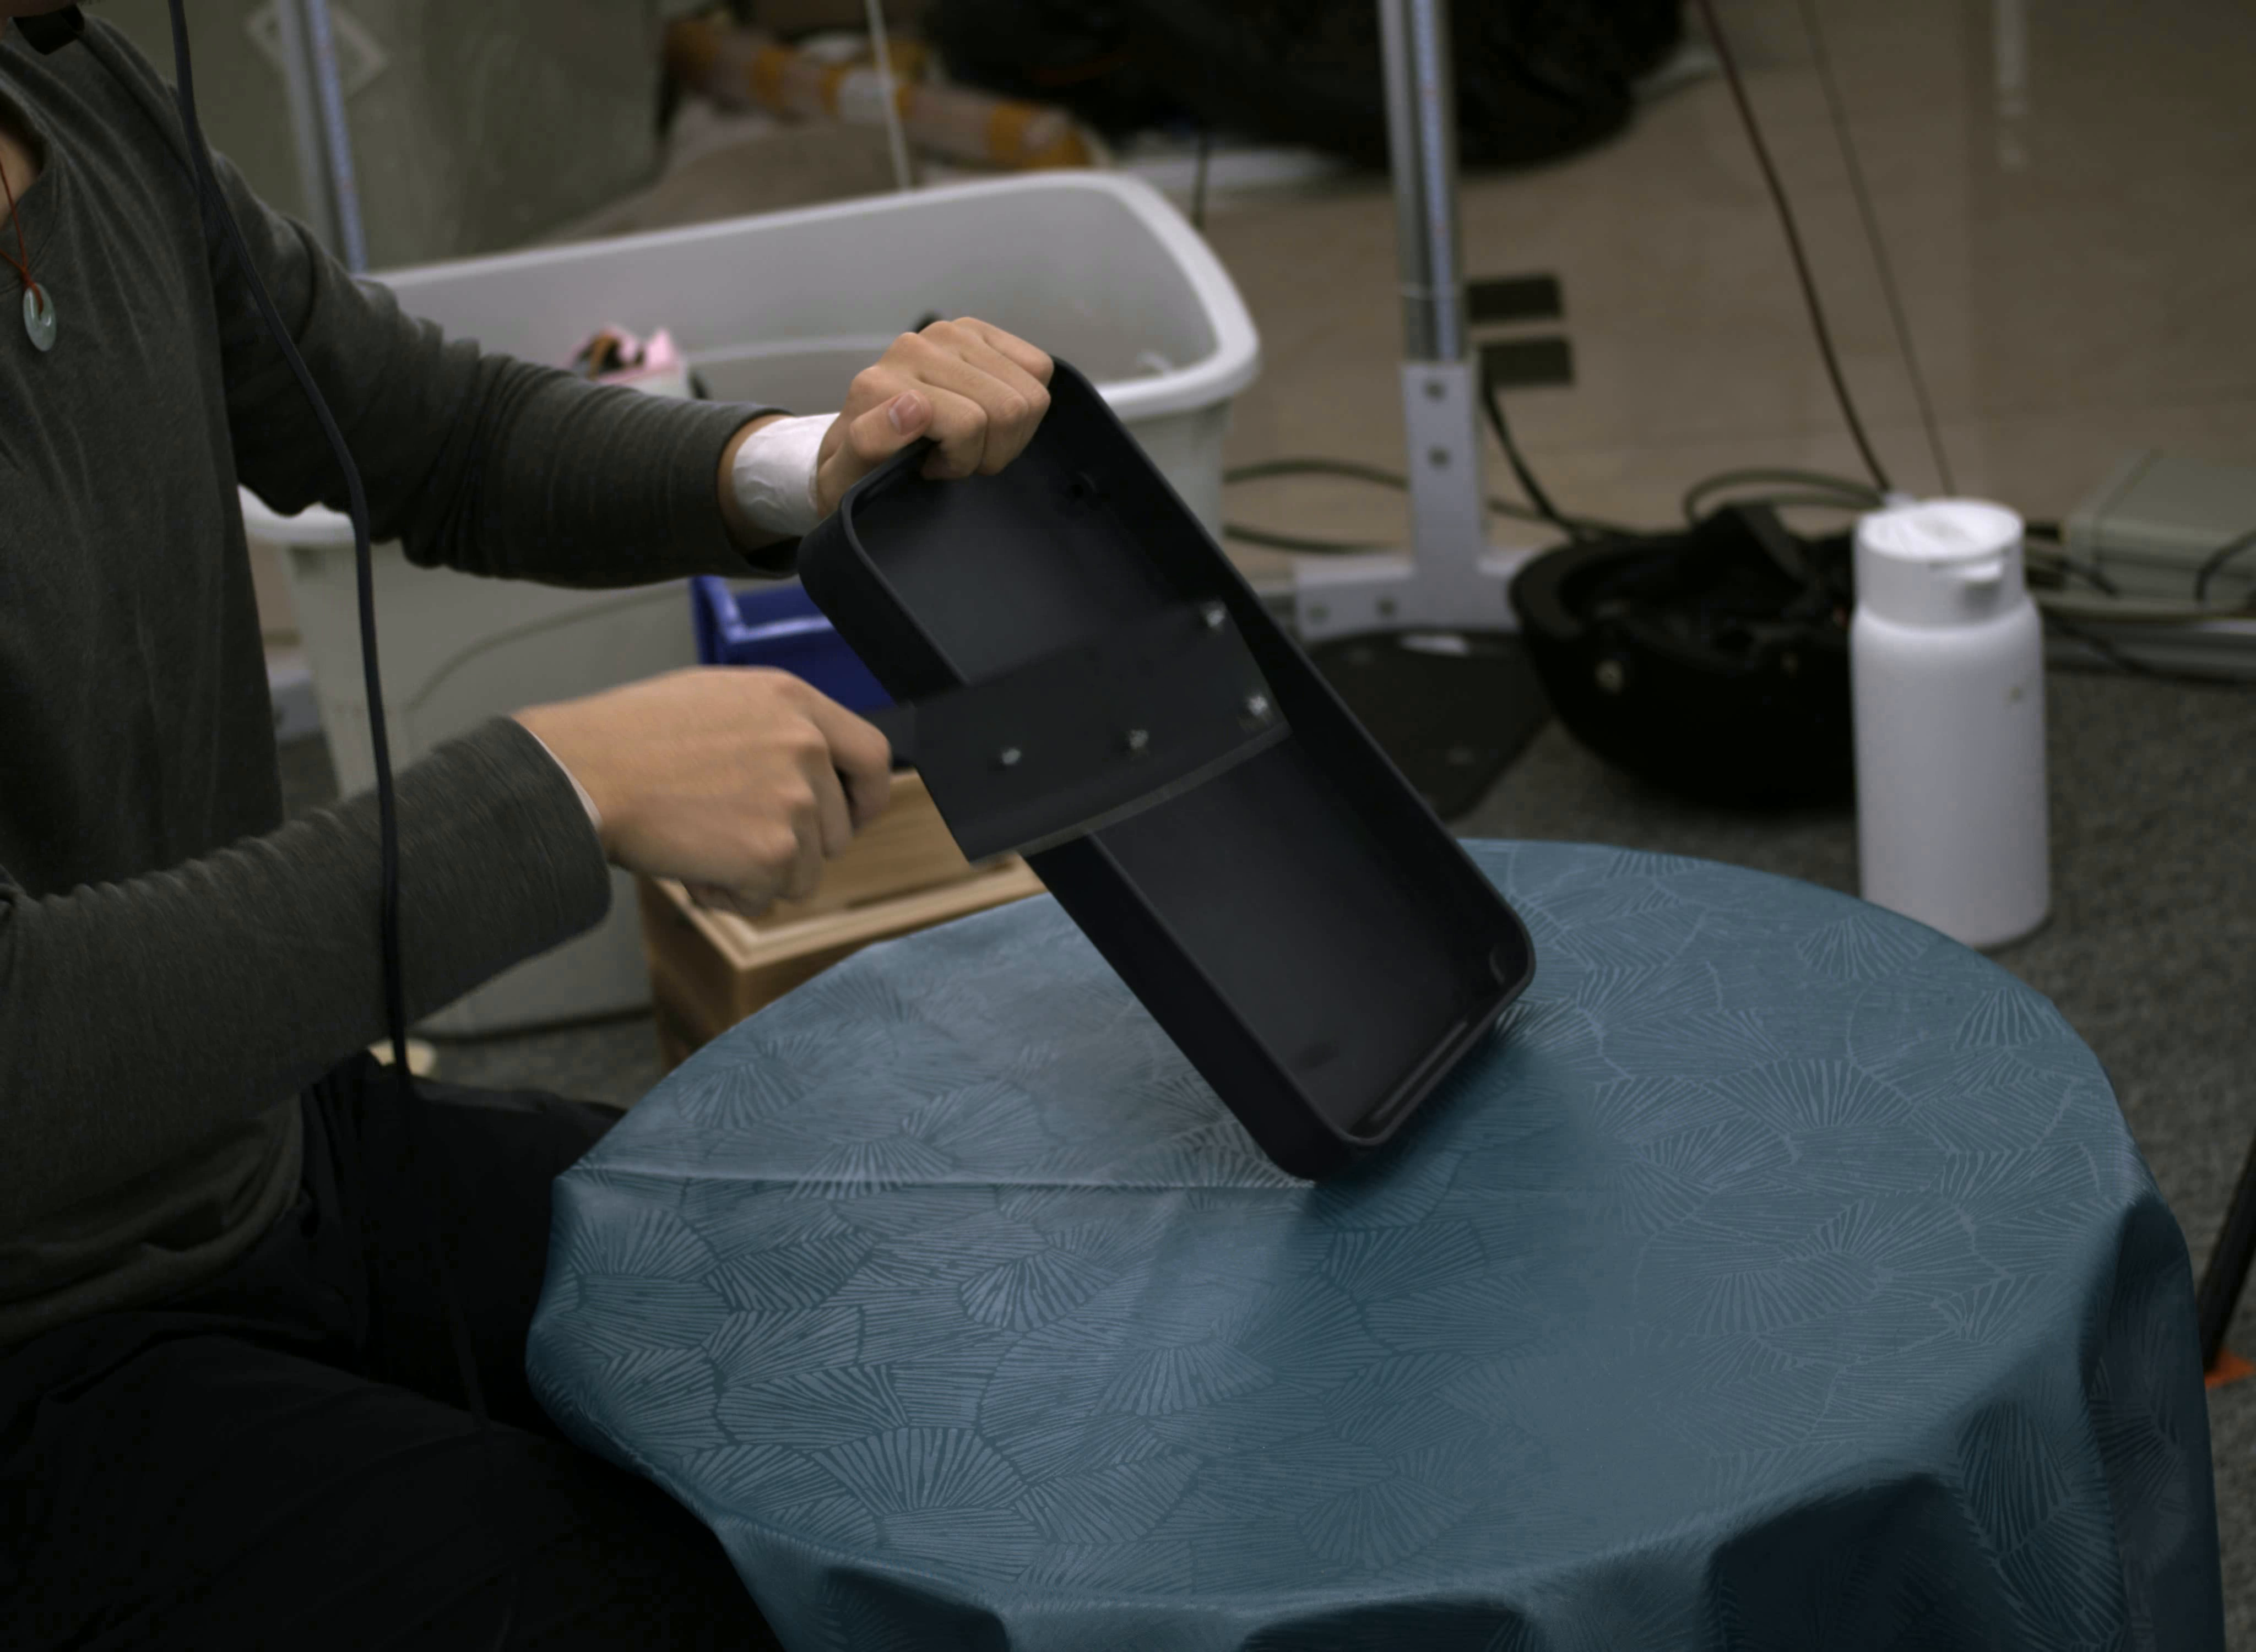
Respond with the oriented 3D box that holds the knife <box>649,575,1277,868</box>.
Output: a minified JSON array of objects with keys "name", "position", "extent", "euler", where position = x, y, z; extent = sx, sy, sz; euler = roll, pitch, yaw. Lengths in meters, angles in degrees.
[{"name":"knife","position":[-0.058,-0.031,2.081],"extent":[0.300,0.080,0.021],"euler":[-17,-12,-42]}]

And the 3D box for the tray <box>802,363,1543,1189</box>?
[{"name":"tray","position":[0.020,-0.021,2.179],"extent":[0.037,0.319,0.182],"euler":[-36,7,38]}]
